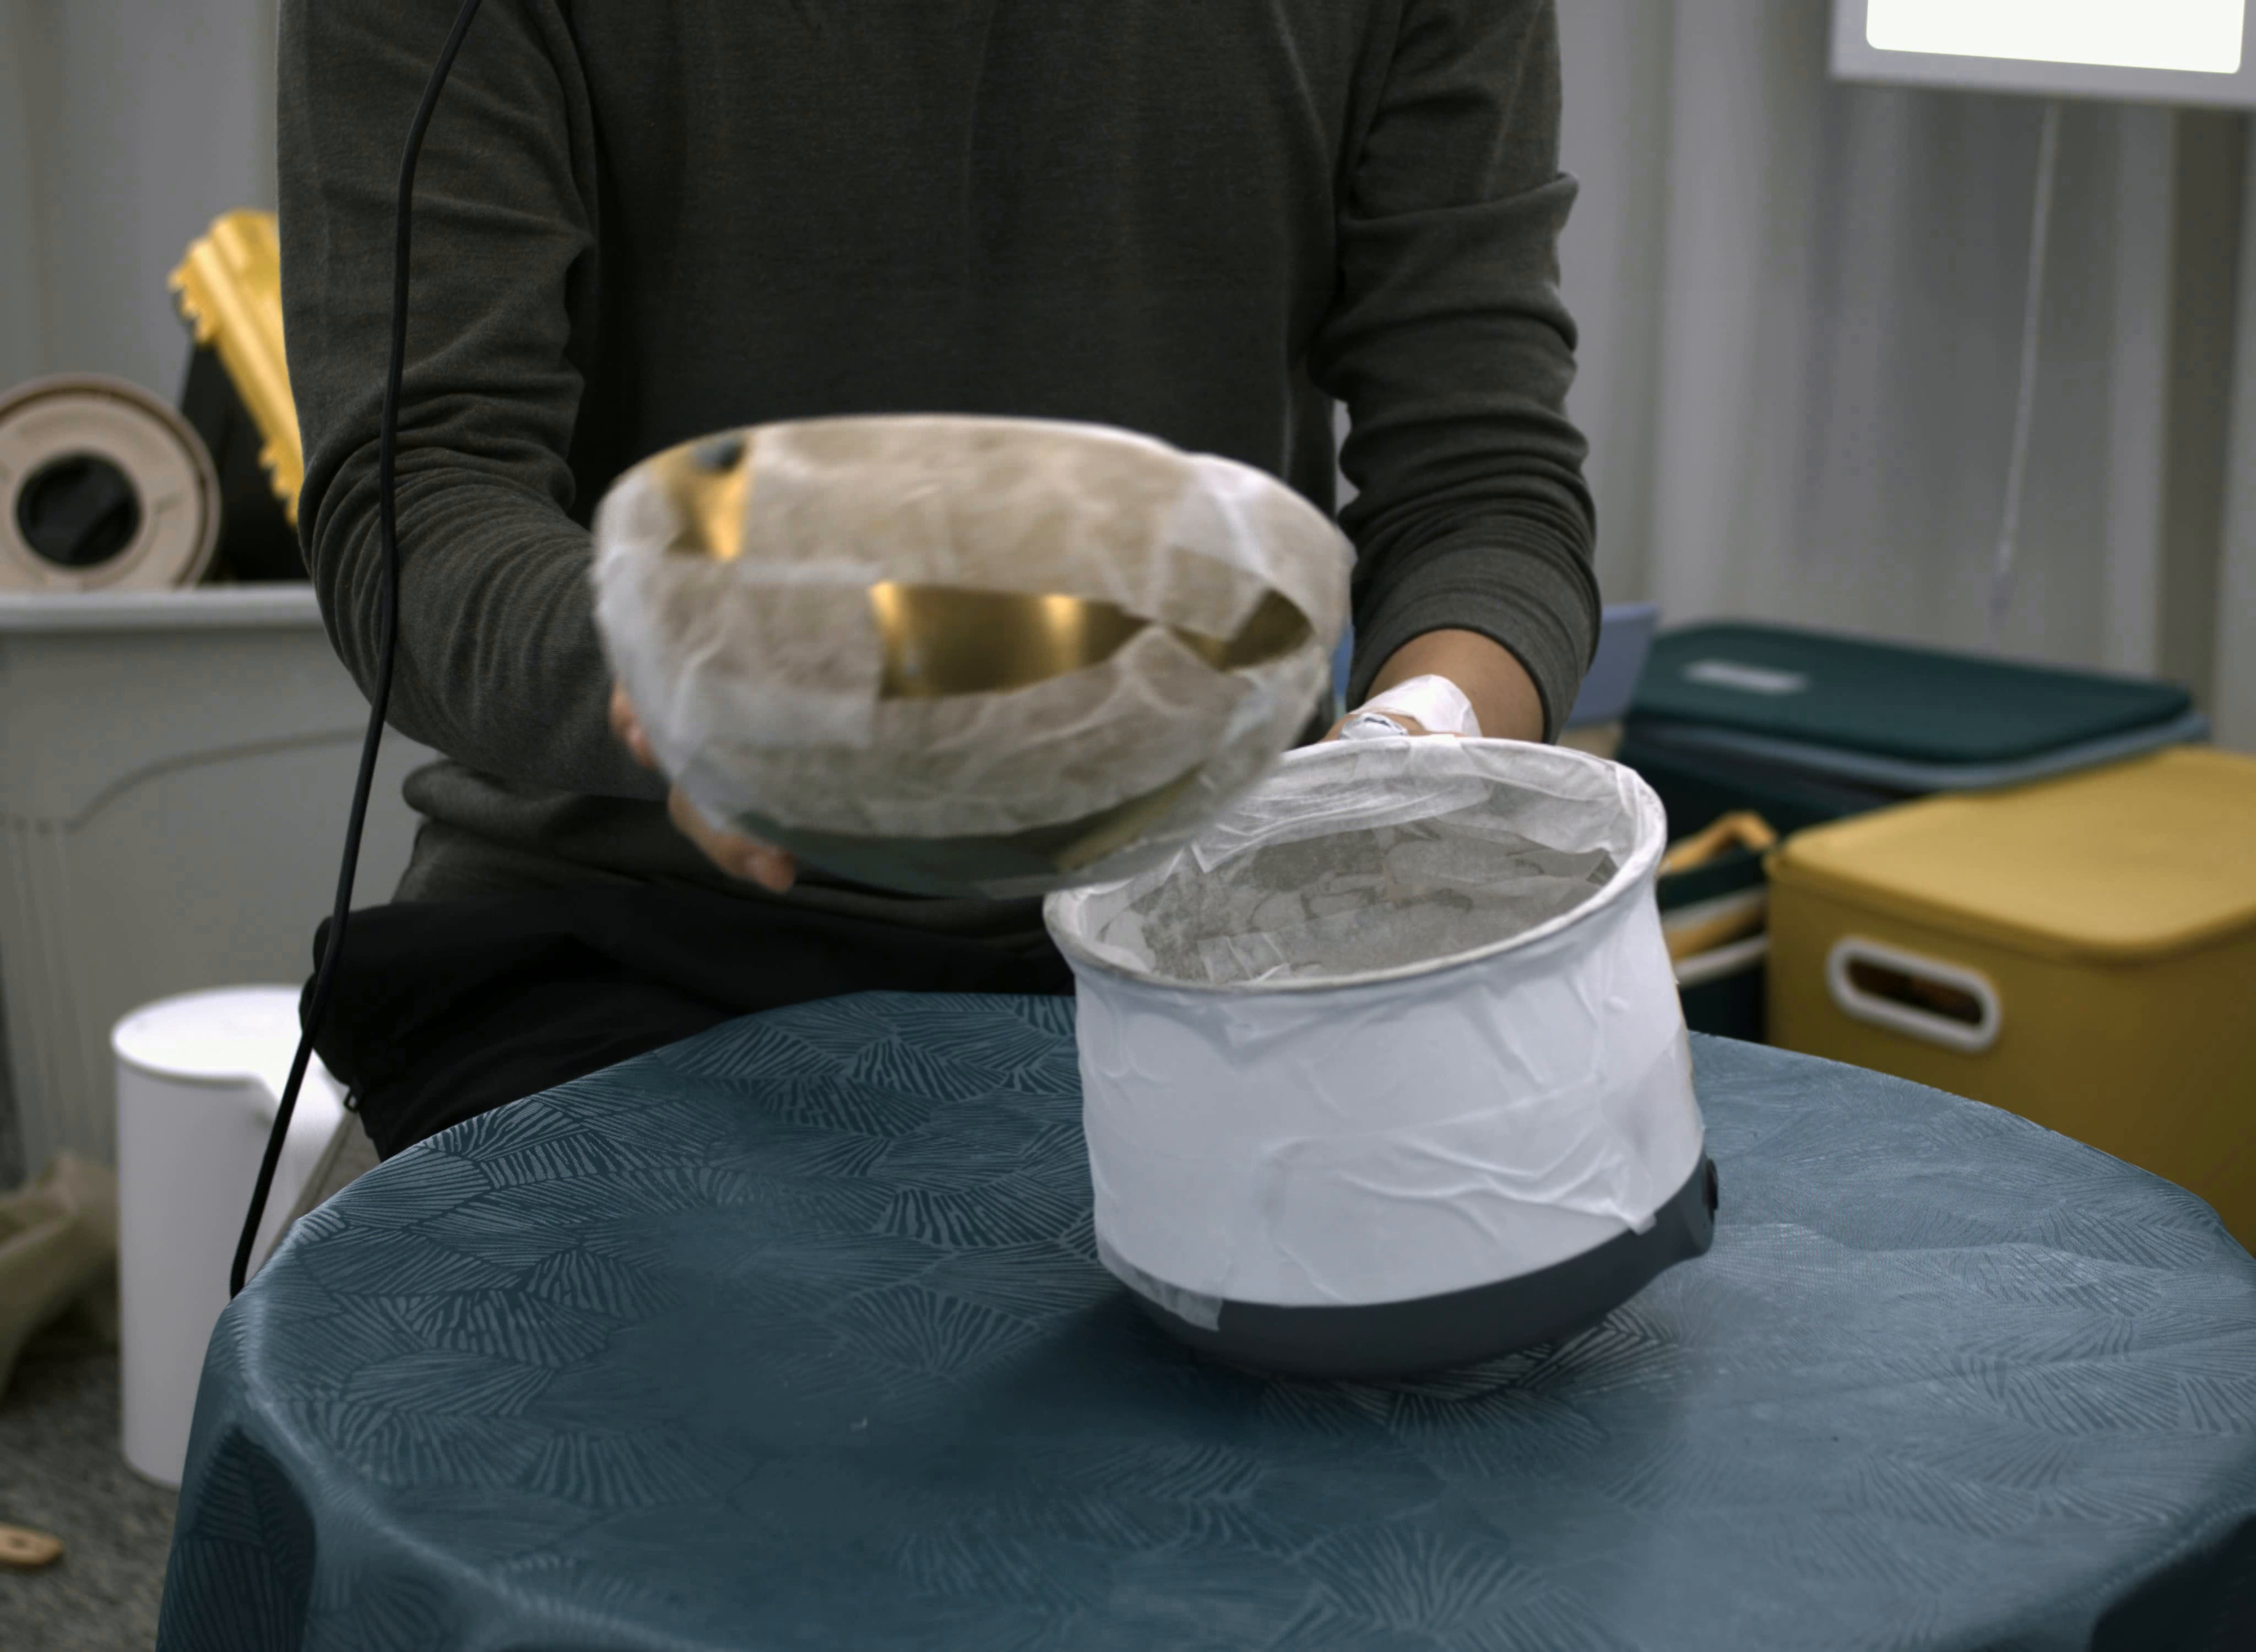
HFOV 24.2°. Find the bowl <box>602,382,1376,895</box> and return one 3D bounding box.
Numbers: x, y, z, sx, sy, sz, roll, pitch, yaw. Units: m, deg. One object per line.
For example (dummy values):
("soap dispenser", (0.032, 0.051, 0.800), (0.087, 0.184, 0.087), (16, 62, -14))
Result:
("bowl", (-0.040, -0.035, 1.375), (0.214, 0.094, 0.216), (4, -17, 2))

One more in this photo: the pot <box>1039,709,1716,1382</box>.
("pot", (0.074, 0.056, 1.517), (0.178, 0.138, 0.232), (-7, 22, 7))
